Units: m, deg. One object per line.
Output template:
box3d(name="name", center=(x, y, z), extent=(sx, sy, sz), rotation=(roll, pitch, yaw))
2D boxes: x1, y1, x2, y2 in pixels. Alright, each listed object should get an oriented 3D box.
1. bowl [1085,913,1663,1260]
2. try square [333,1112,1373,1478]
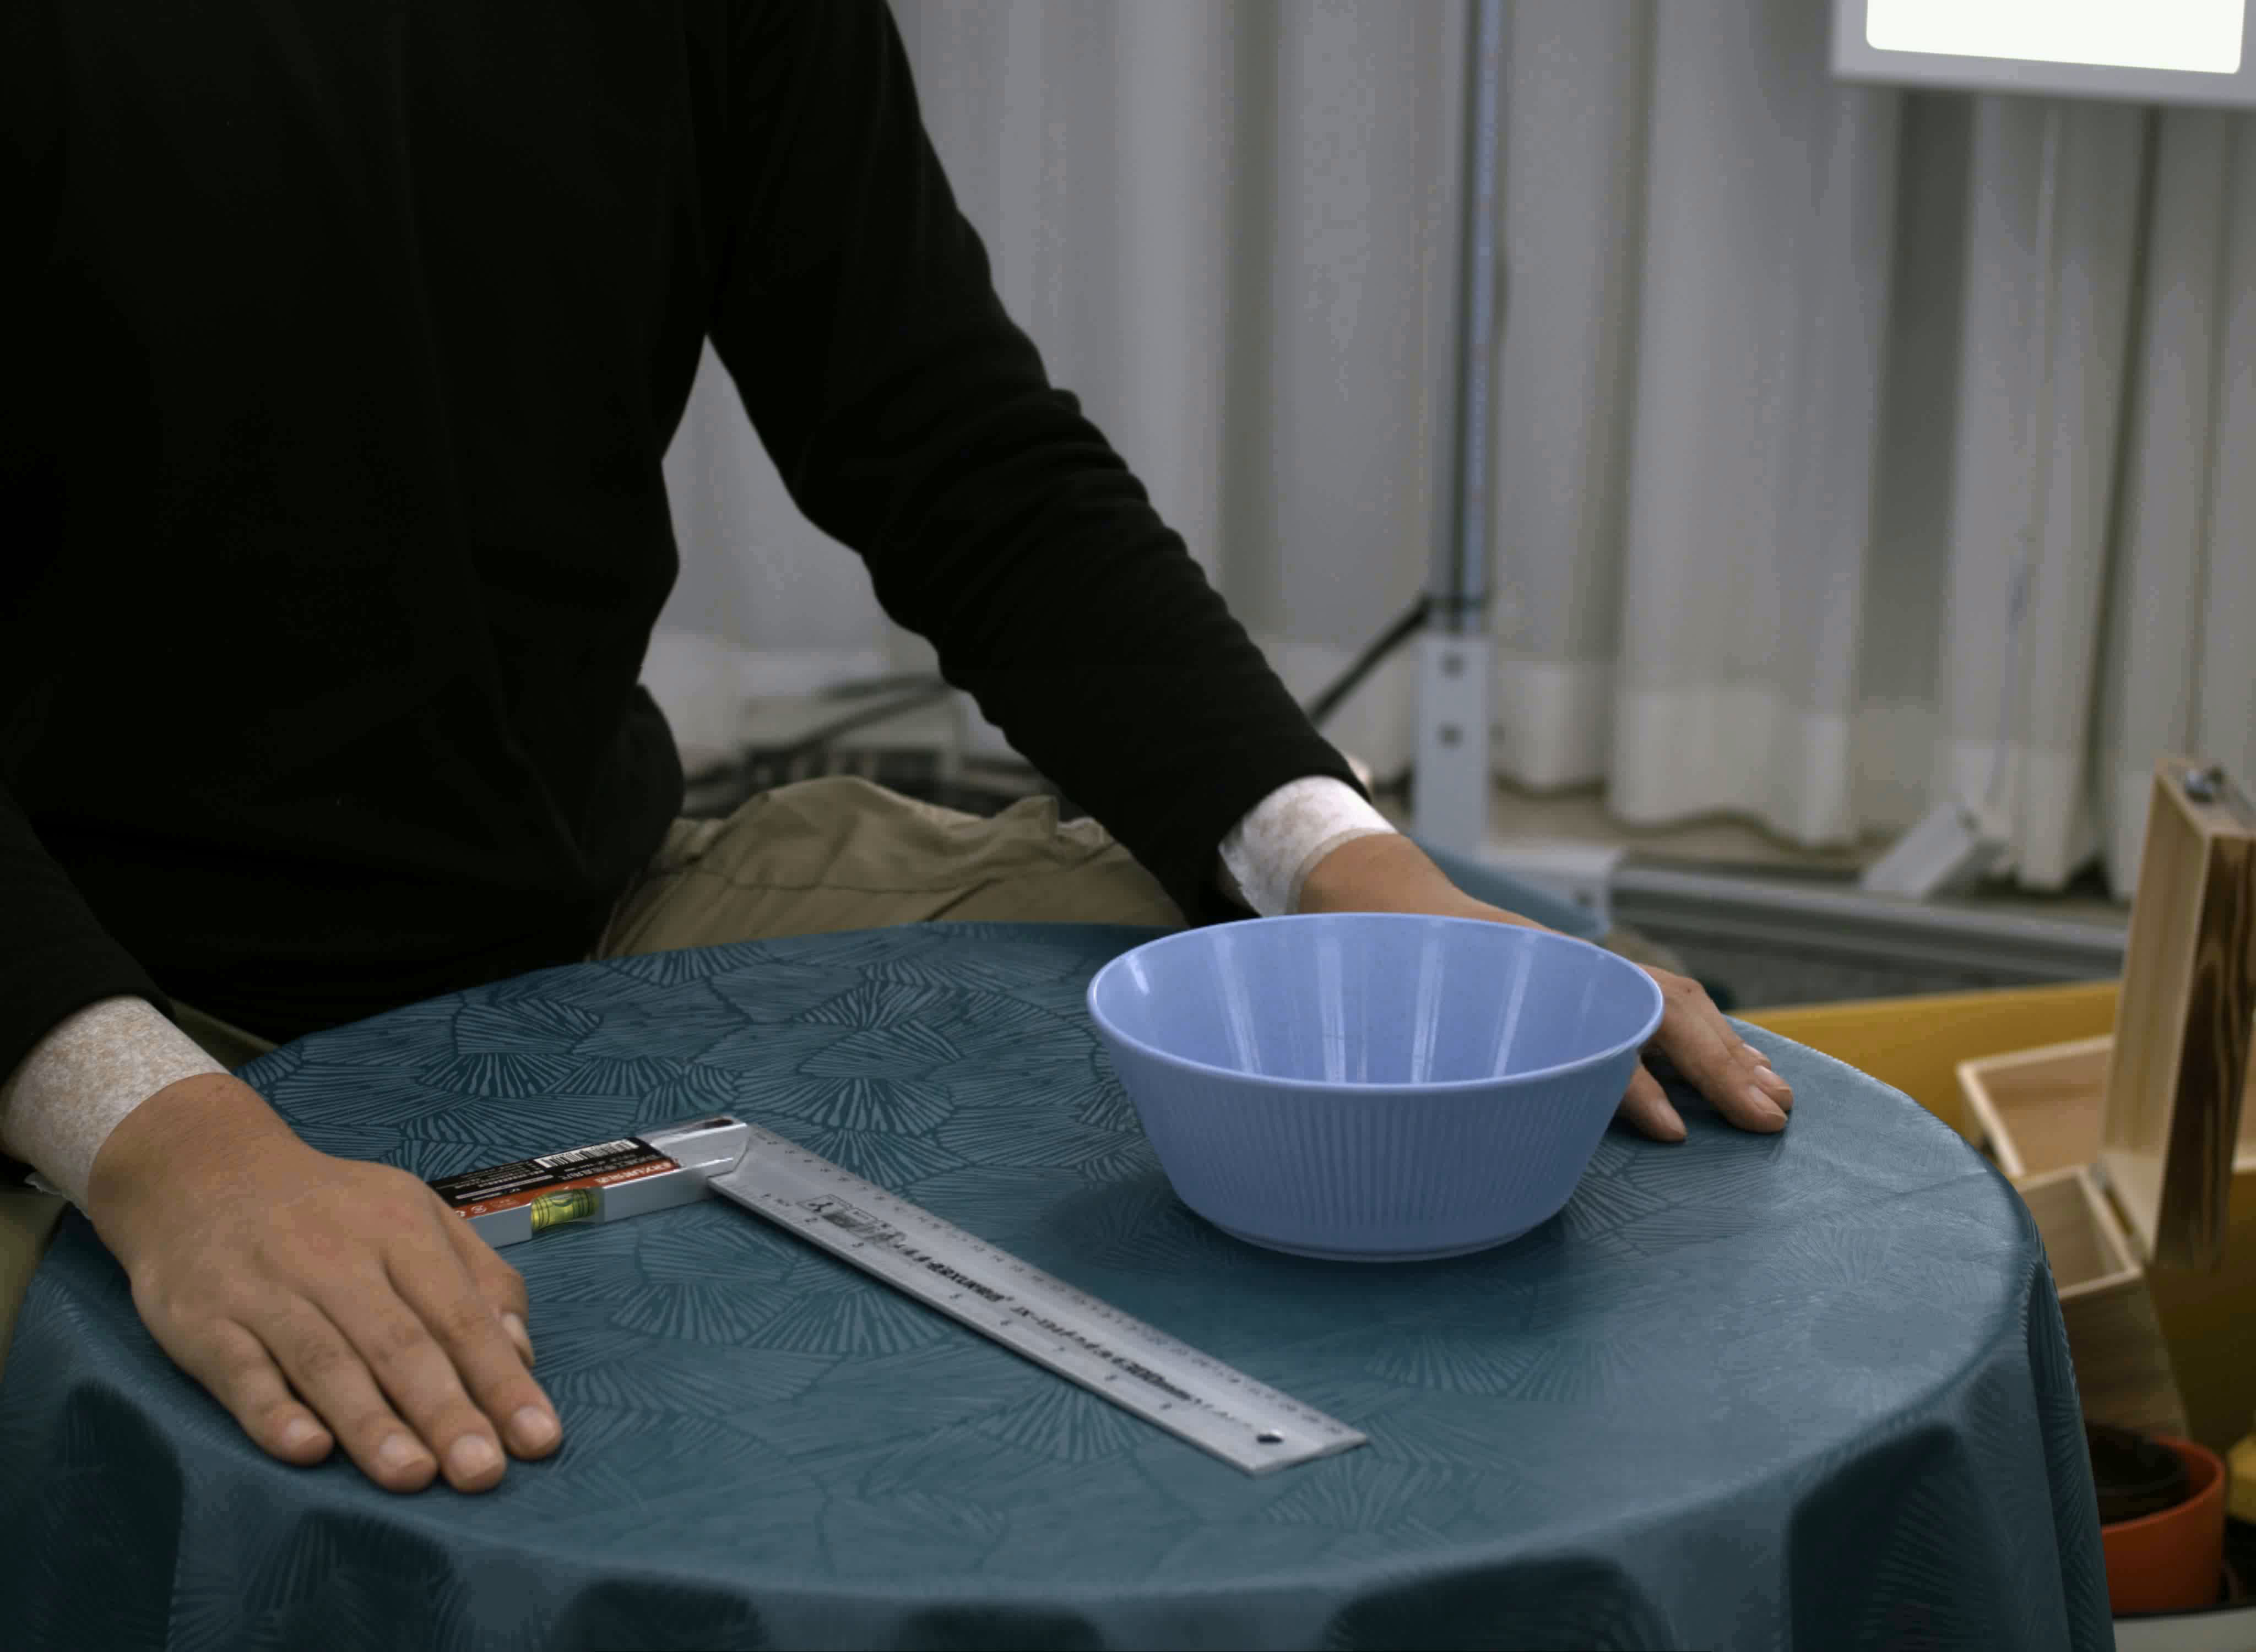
box3d(name="bowl", center=(0.074, 0.082, 1.603), extent=(0.175, 0.071, 0.175), rotation=(0, 16, 0))
box3d(name="try square", center=(-0.086, 0.144, 1.500), extent=(0.153, 0.016, 0.308), rotation=(-14, 22, -34))
